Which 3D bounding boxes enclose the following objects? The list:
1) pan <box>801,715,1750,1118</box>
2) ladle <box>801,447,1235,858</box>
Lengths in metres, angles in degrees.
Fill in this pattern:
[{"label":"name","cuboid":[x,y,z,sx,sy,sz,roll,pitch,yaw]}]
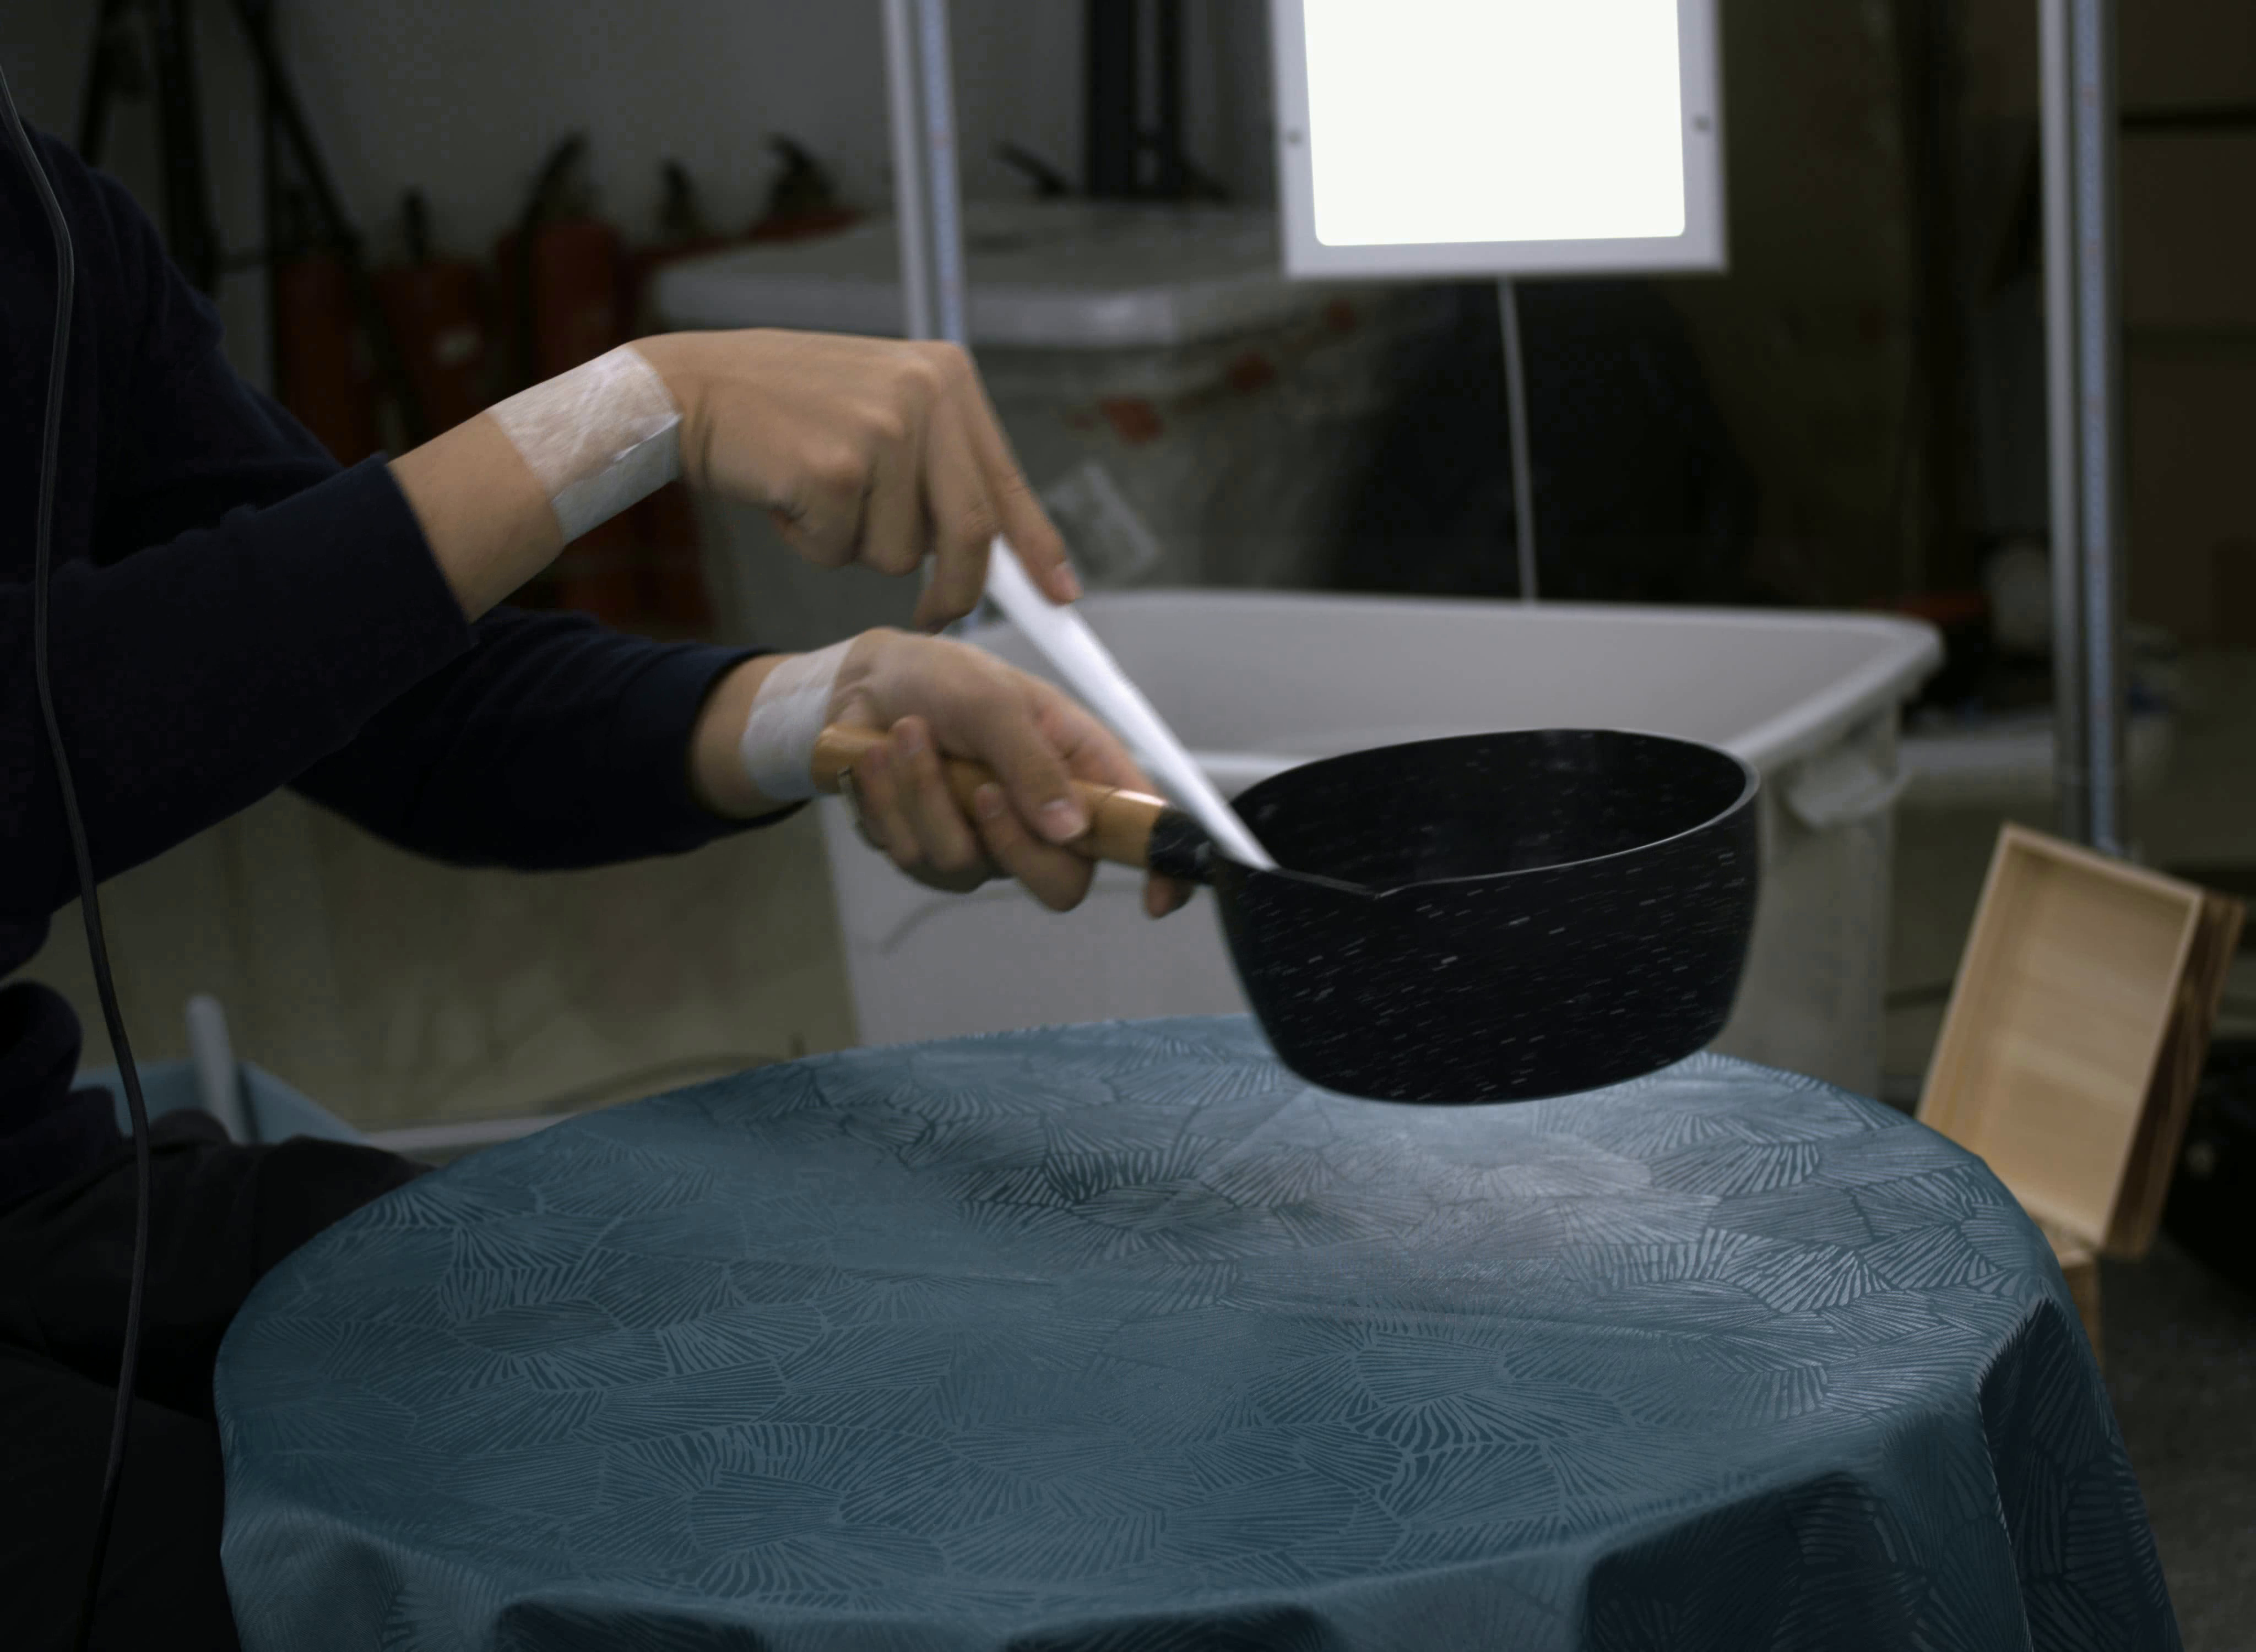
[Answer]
[{"label":"pan","cuboid":[0.044,0.021,1.861,0.348,0.108,0.203,1,18,27]},{"label":"ladle","cuboid":[0.022,-0.028,1.807,0.071,0.292,0.089,-46,3,20]}]
